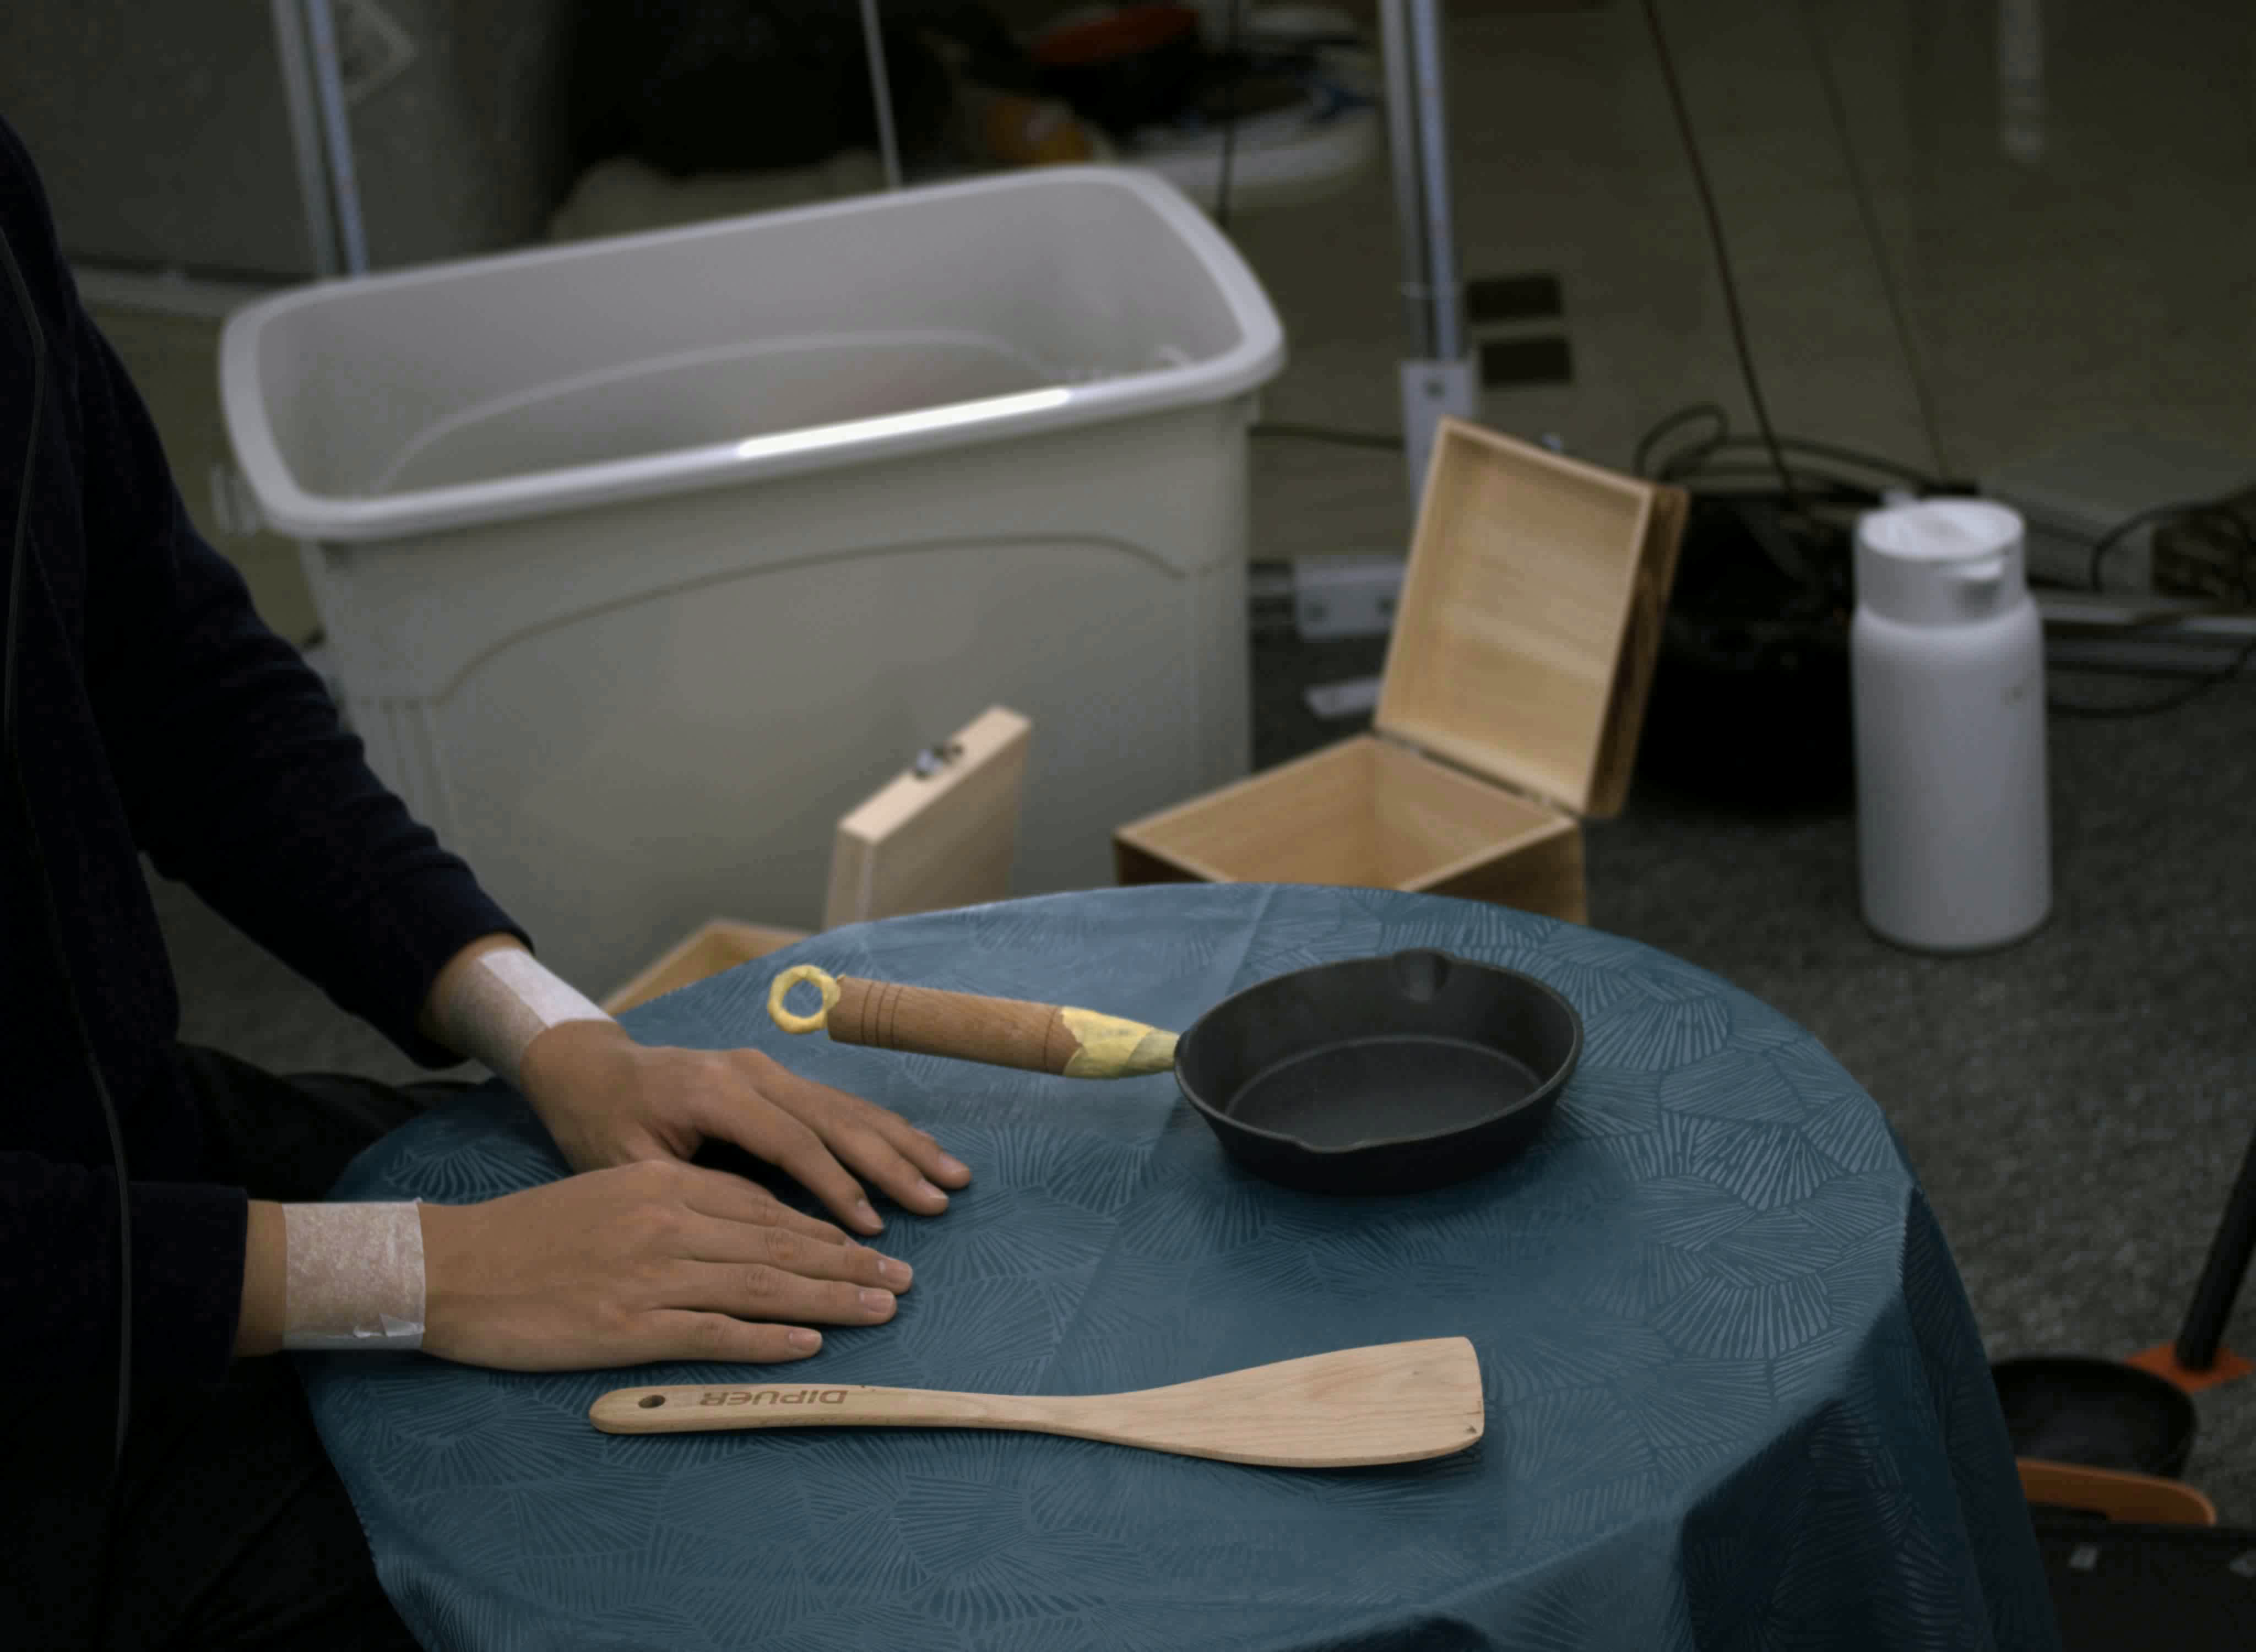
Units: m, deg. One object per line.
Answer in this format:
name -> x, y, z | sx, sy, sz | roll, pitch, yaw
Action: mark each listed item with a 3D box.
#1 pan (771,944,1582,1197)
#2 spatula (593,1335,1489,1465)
pan -> 0.016, 0.087, 2.193 | 0.323, 0.050, 0.166 | 4, 27, 18
spatula -> -0.031, 0.202, 2.000 | 0.327, 0.017, 0.079 | -1, 25, 12
